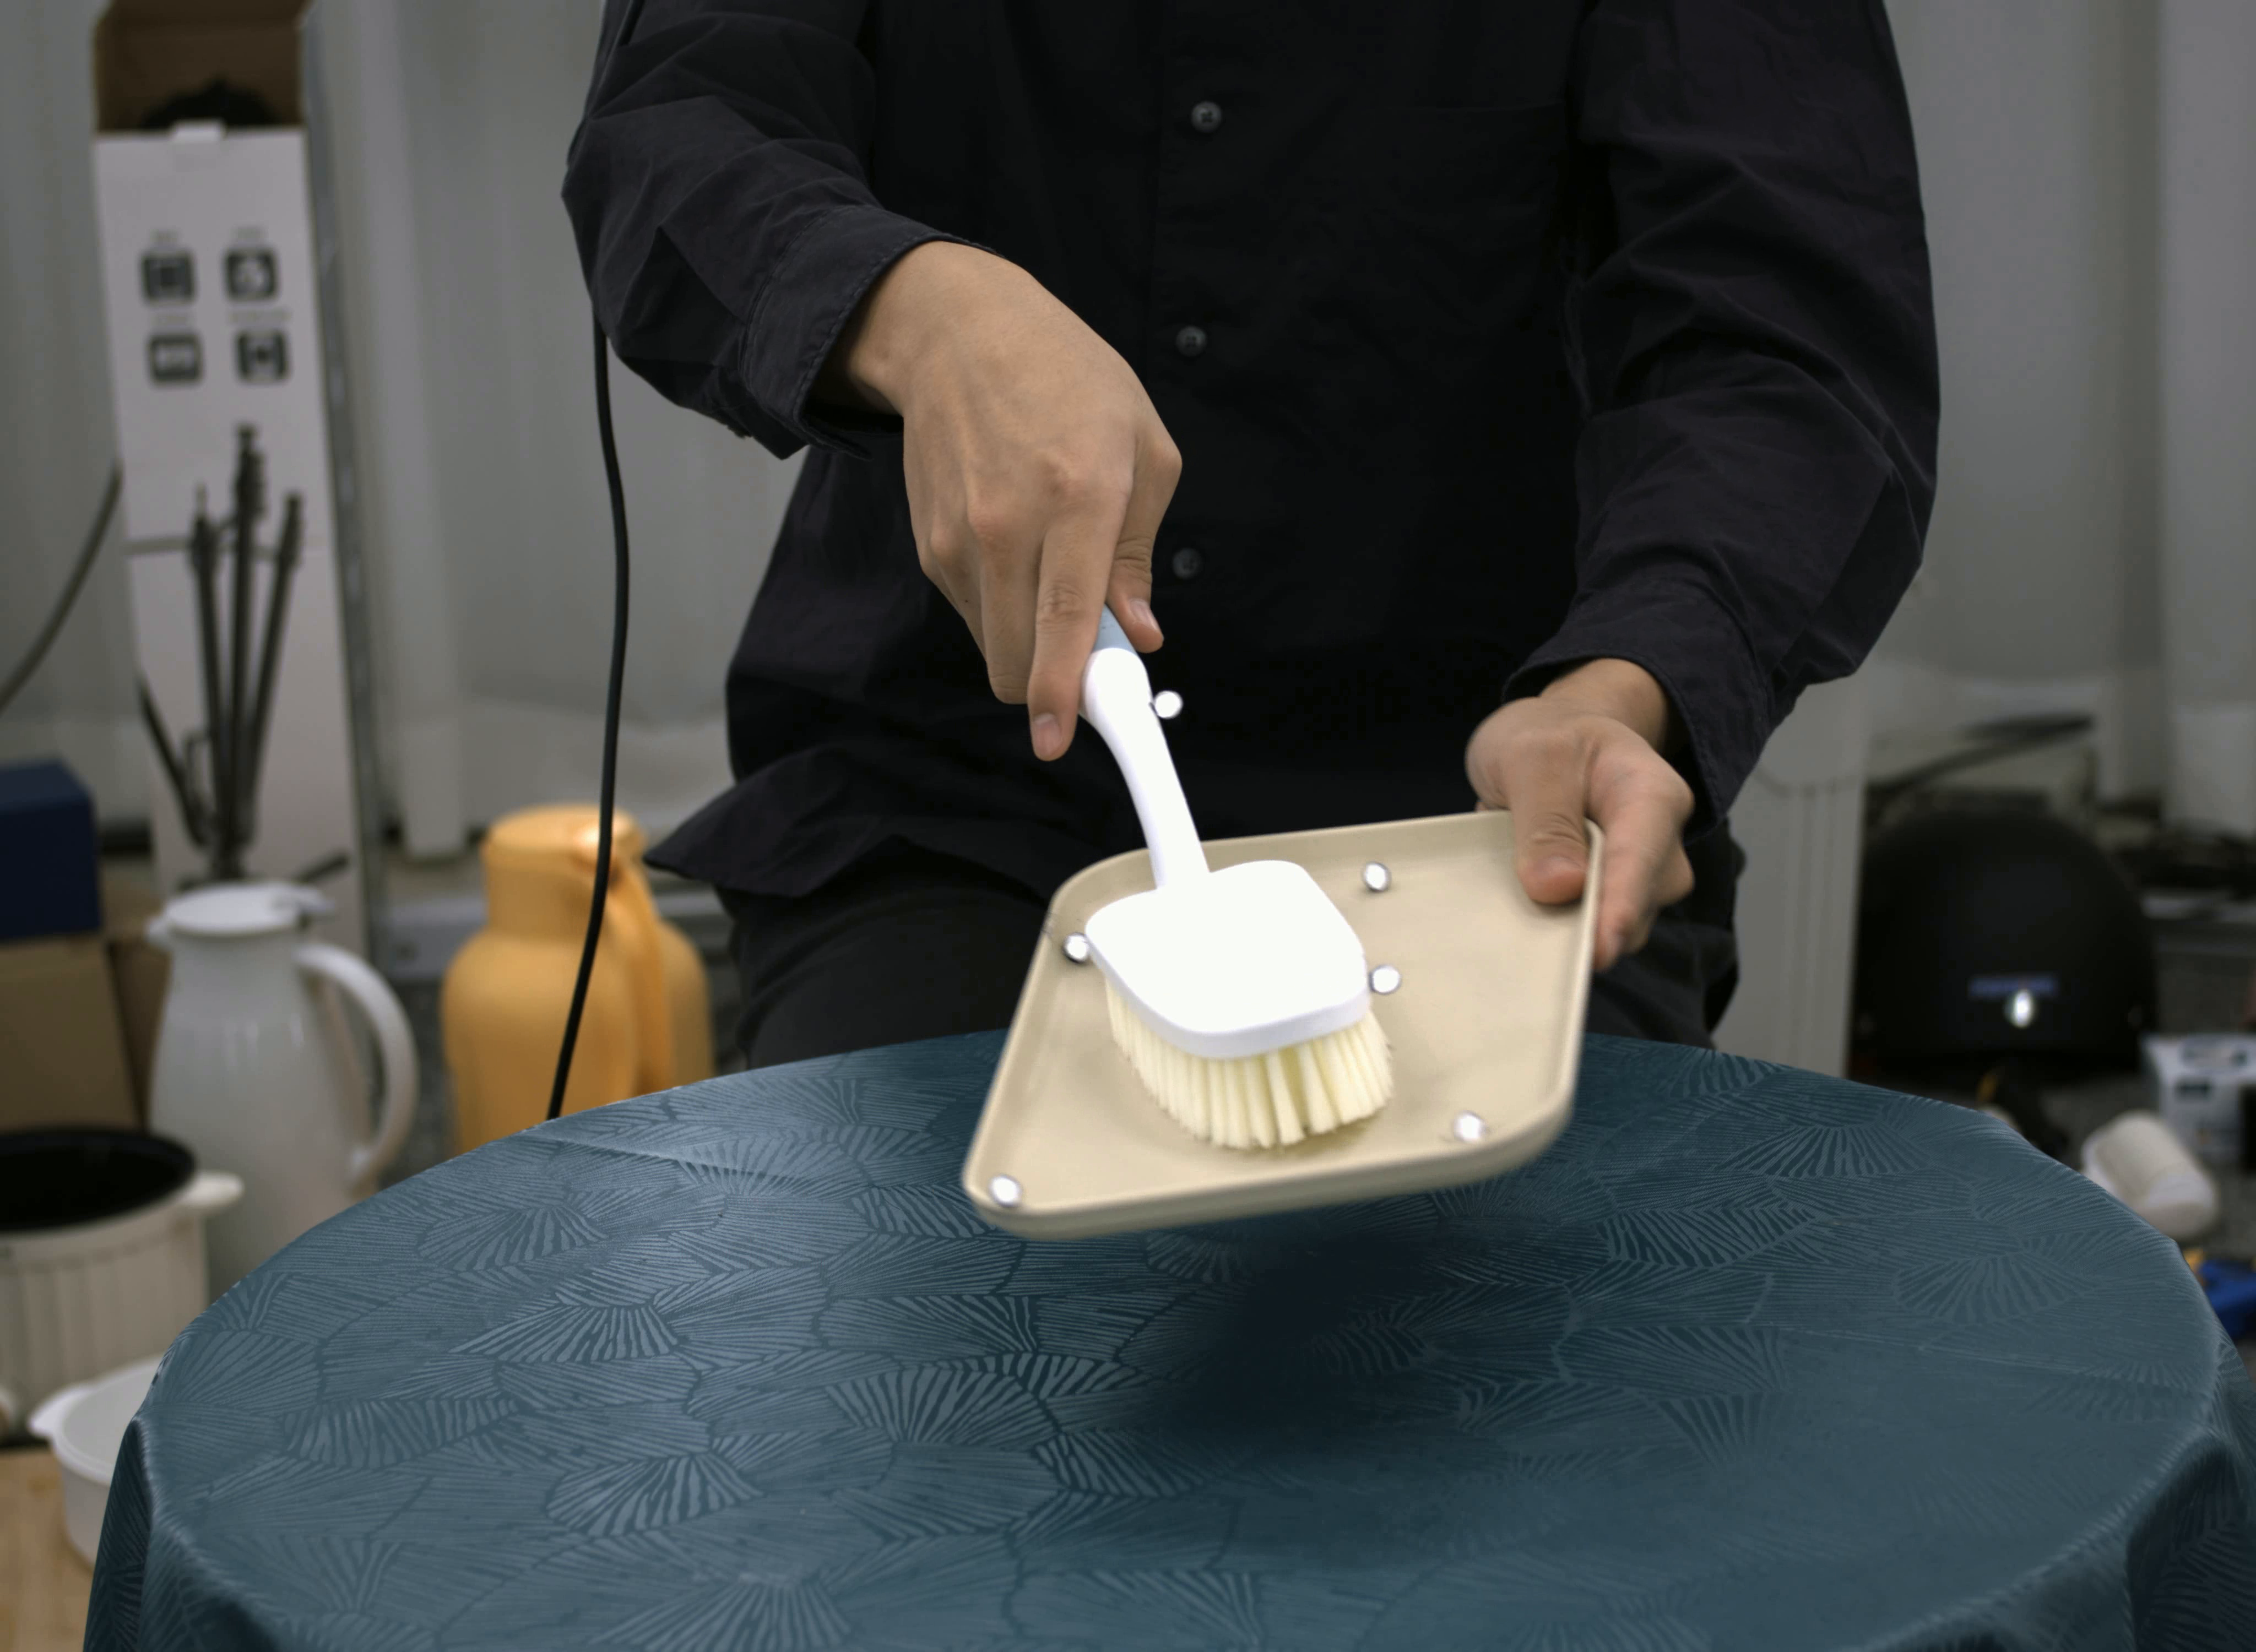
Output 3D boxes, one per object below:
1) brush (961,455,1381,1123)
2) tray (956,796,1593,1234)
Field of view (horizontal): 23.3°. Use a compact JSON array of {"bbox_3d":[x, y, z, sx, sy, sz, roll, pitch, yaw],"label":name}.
[{"bbox_3d":[0.009,-0.003,1.634,0.082,0.084,0.330,19,23,-27],"label":"brush"},{"bbox_3d":[0.047,0.053,1.573,0.171,0.017,0.242,-8,22,12],"label":"tray"}]
